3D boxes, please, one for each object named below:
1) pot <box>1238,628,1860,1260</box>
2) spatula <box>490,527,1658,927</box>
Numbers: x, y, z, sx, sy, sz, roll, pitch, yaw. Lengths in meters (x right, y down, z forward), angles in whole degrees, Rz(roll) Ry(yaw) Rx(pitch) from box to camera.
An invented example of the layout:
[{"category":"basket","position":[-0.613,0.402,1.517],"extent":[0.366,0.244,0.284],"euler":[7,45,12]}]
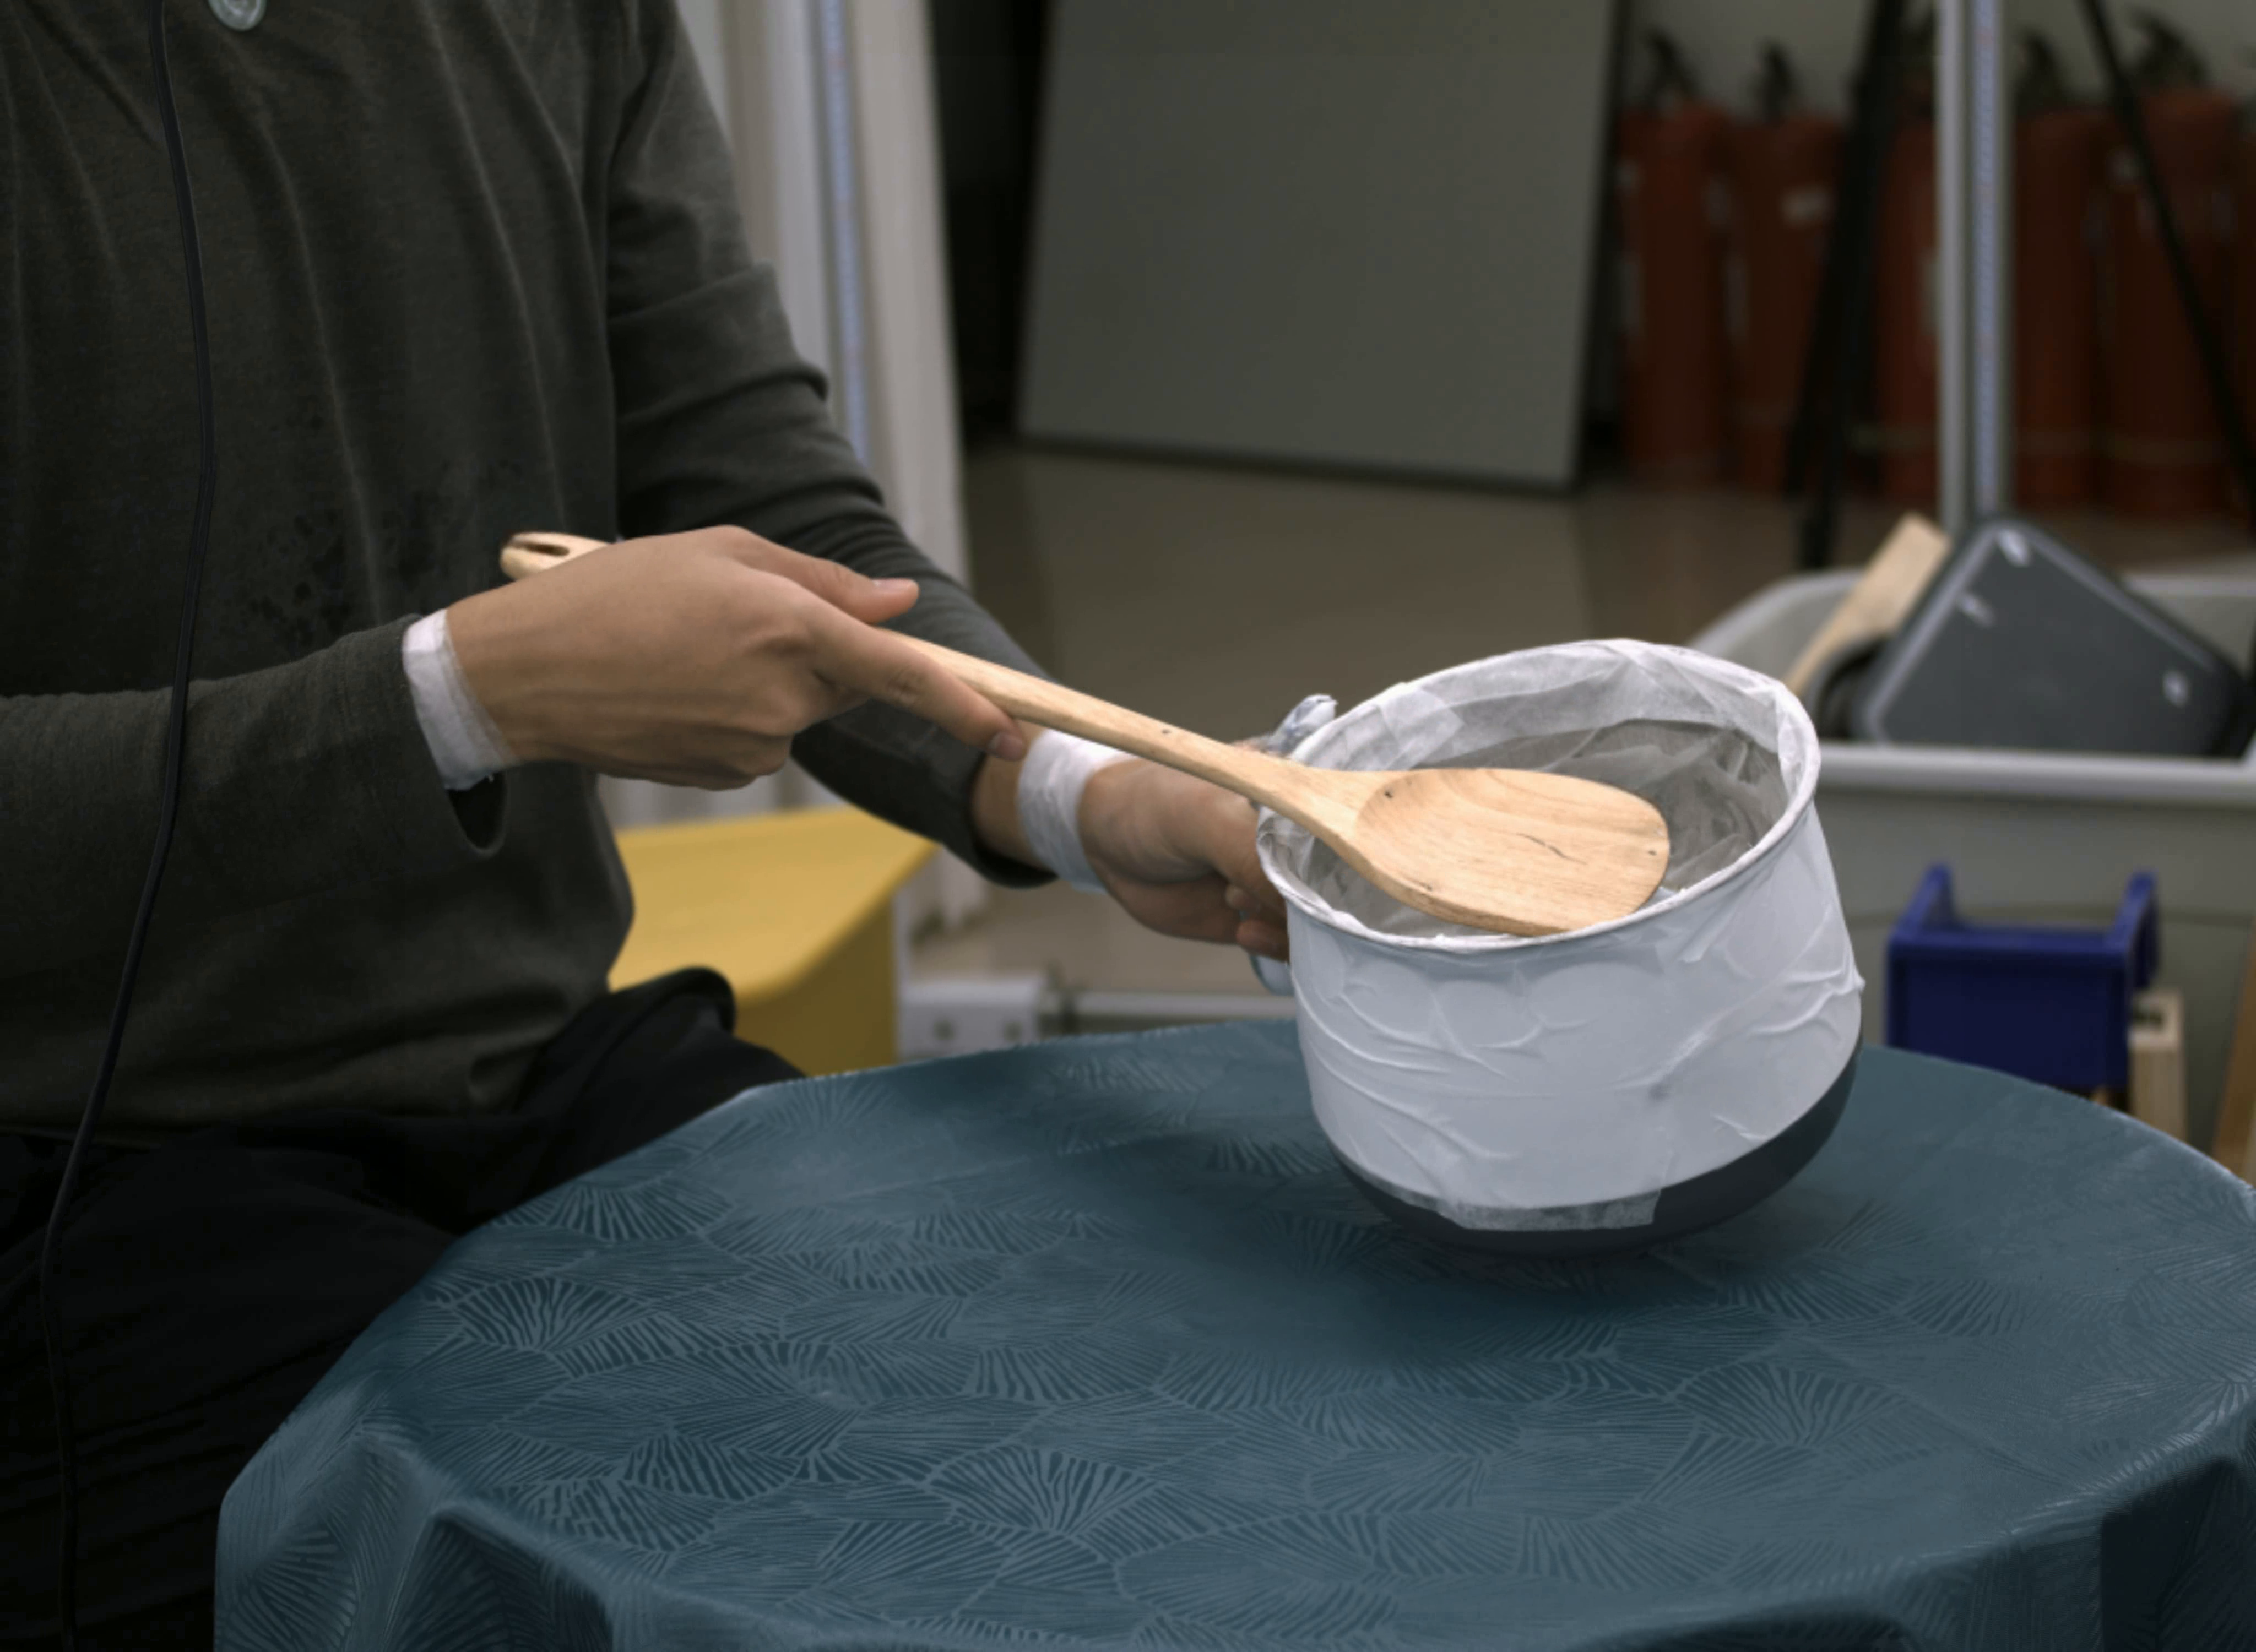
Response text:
[{"category":"pot","position":[0.118,0.032,1.696],"extent":[0.176,0.137,0.236],"euler":[-33,34,-32]},{"category":"spatula","position":[-0.024,-0.036,1.668],"extent":[0.390,0.018,0.095],"euler":[17,29,15]}]
